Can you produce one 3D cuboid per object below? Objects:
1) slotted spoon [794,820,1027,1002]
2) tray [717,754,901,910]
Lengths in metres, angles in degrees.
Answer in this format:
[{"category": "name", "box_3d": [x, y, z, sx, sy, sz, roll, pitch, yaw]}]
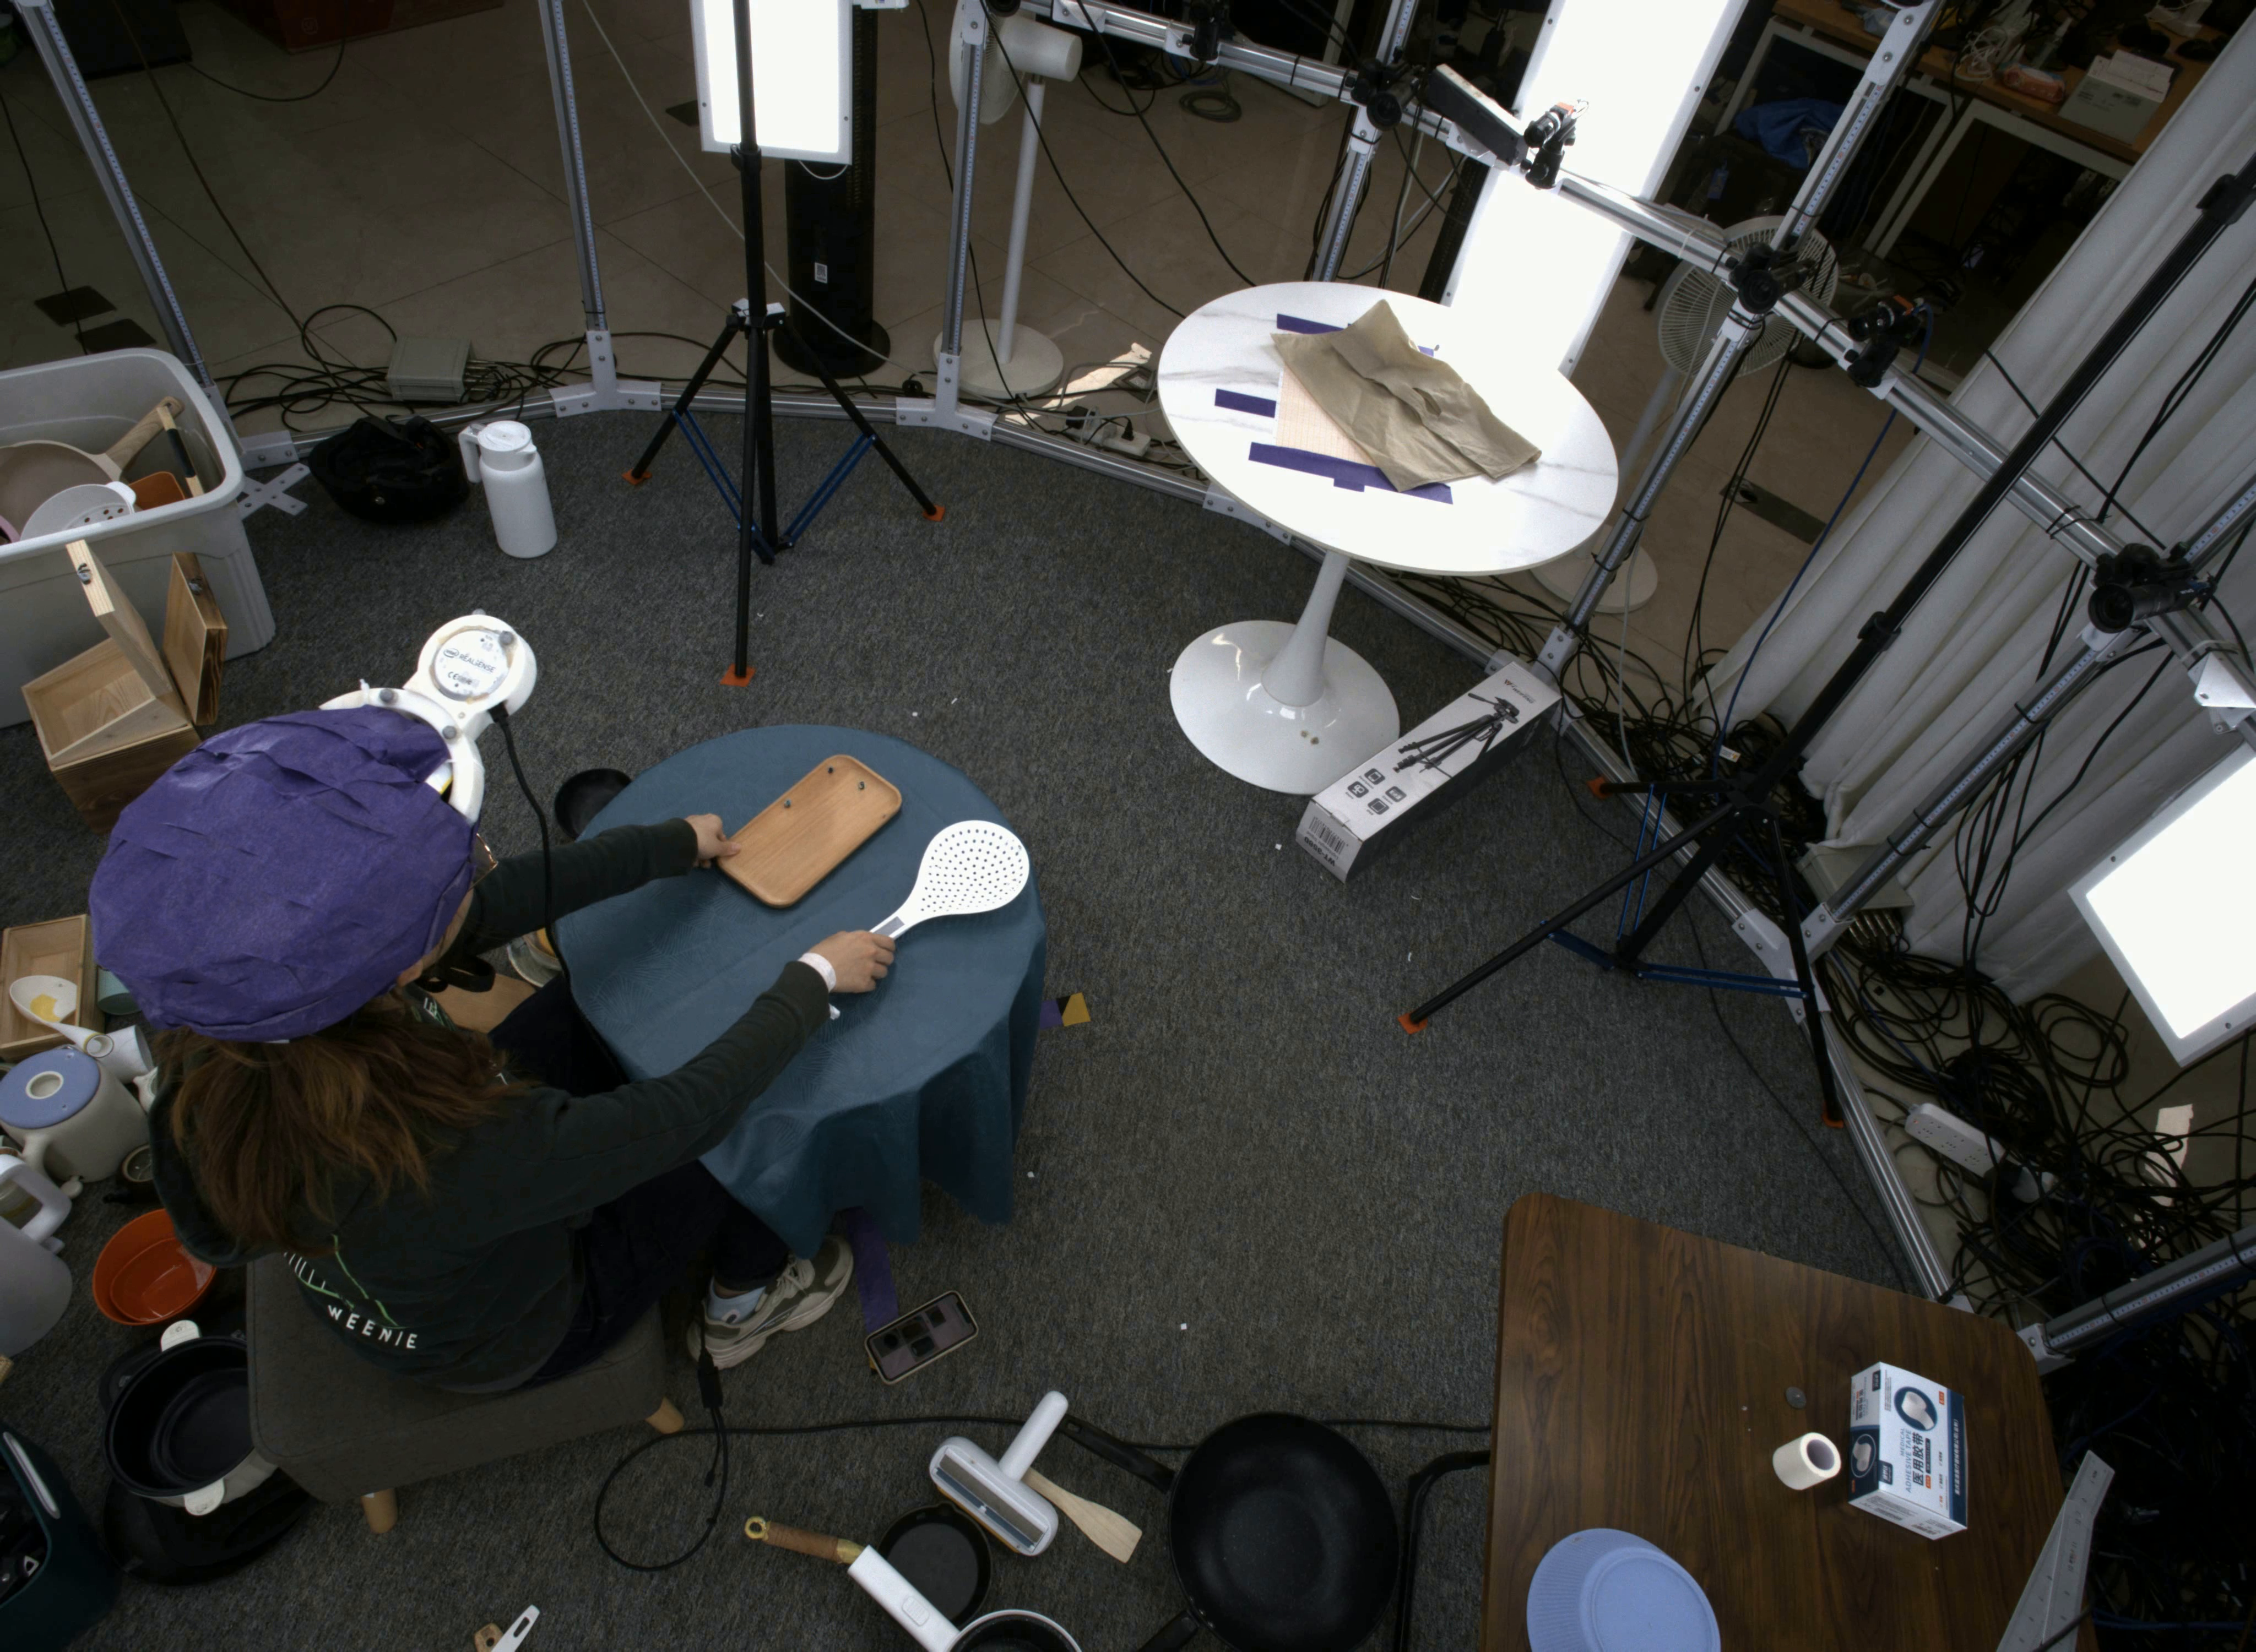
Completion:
[{"category": "slotted spoon", "box_3d": [-0.276, 0.110, 1.656, 0.133, 0.046, 0.350, 43, 56, 18]}, {"category": "tray", "box_3d": [-0.419, 0.004, 1.715, 0.128, 0.023, 0.250, 34, 54, 12]}]
